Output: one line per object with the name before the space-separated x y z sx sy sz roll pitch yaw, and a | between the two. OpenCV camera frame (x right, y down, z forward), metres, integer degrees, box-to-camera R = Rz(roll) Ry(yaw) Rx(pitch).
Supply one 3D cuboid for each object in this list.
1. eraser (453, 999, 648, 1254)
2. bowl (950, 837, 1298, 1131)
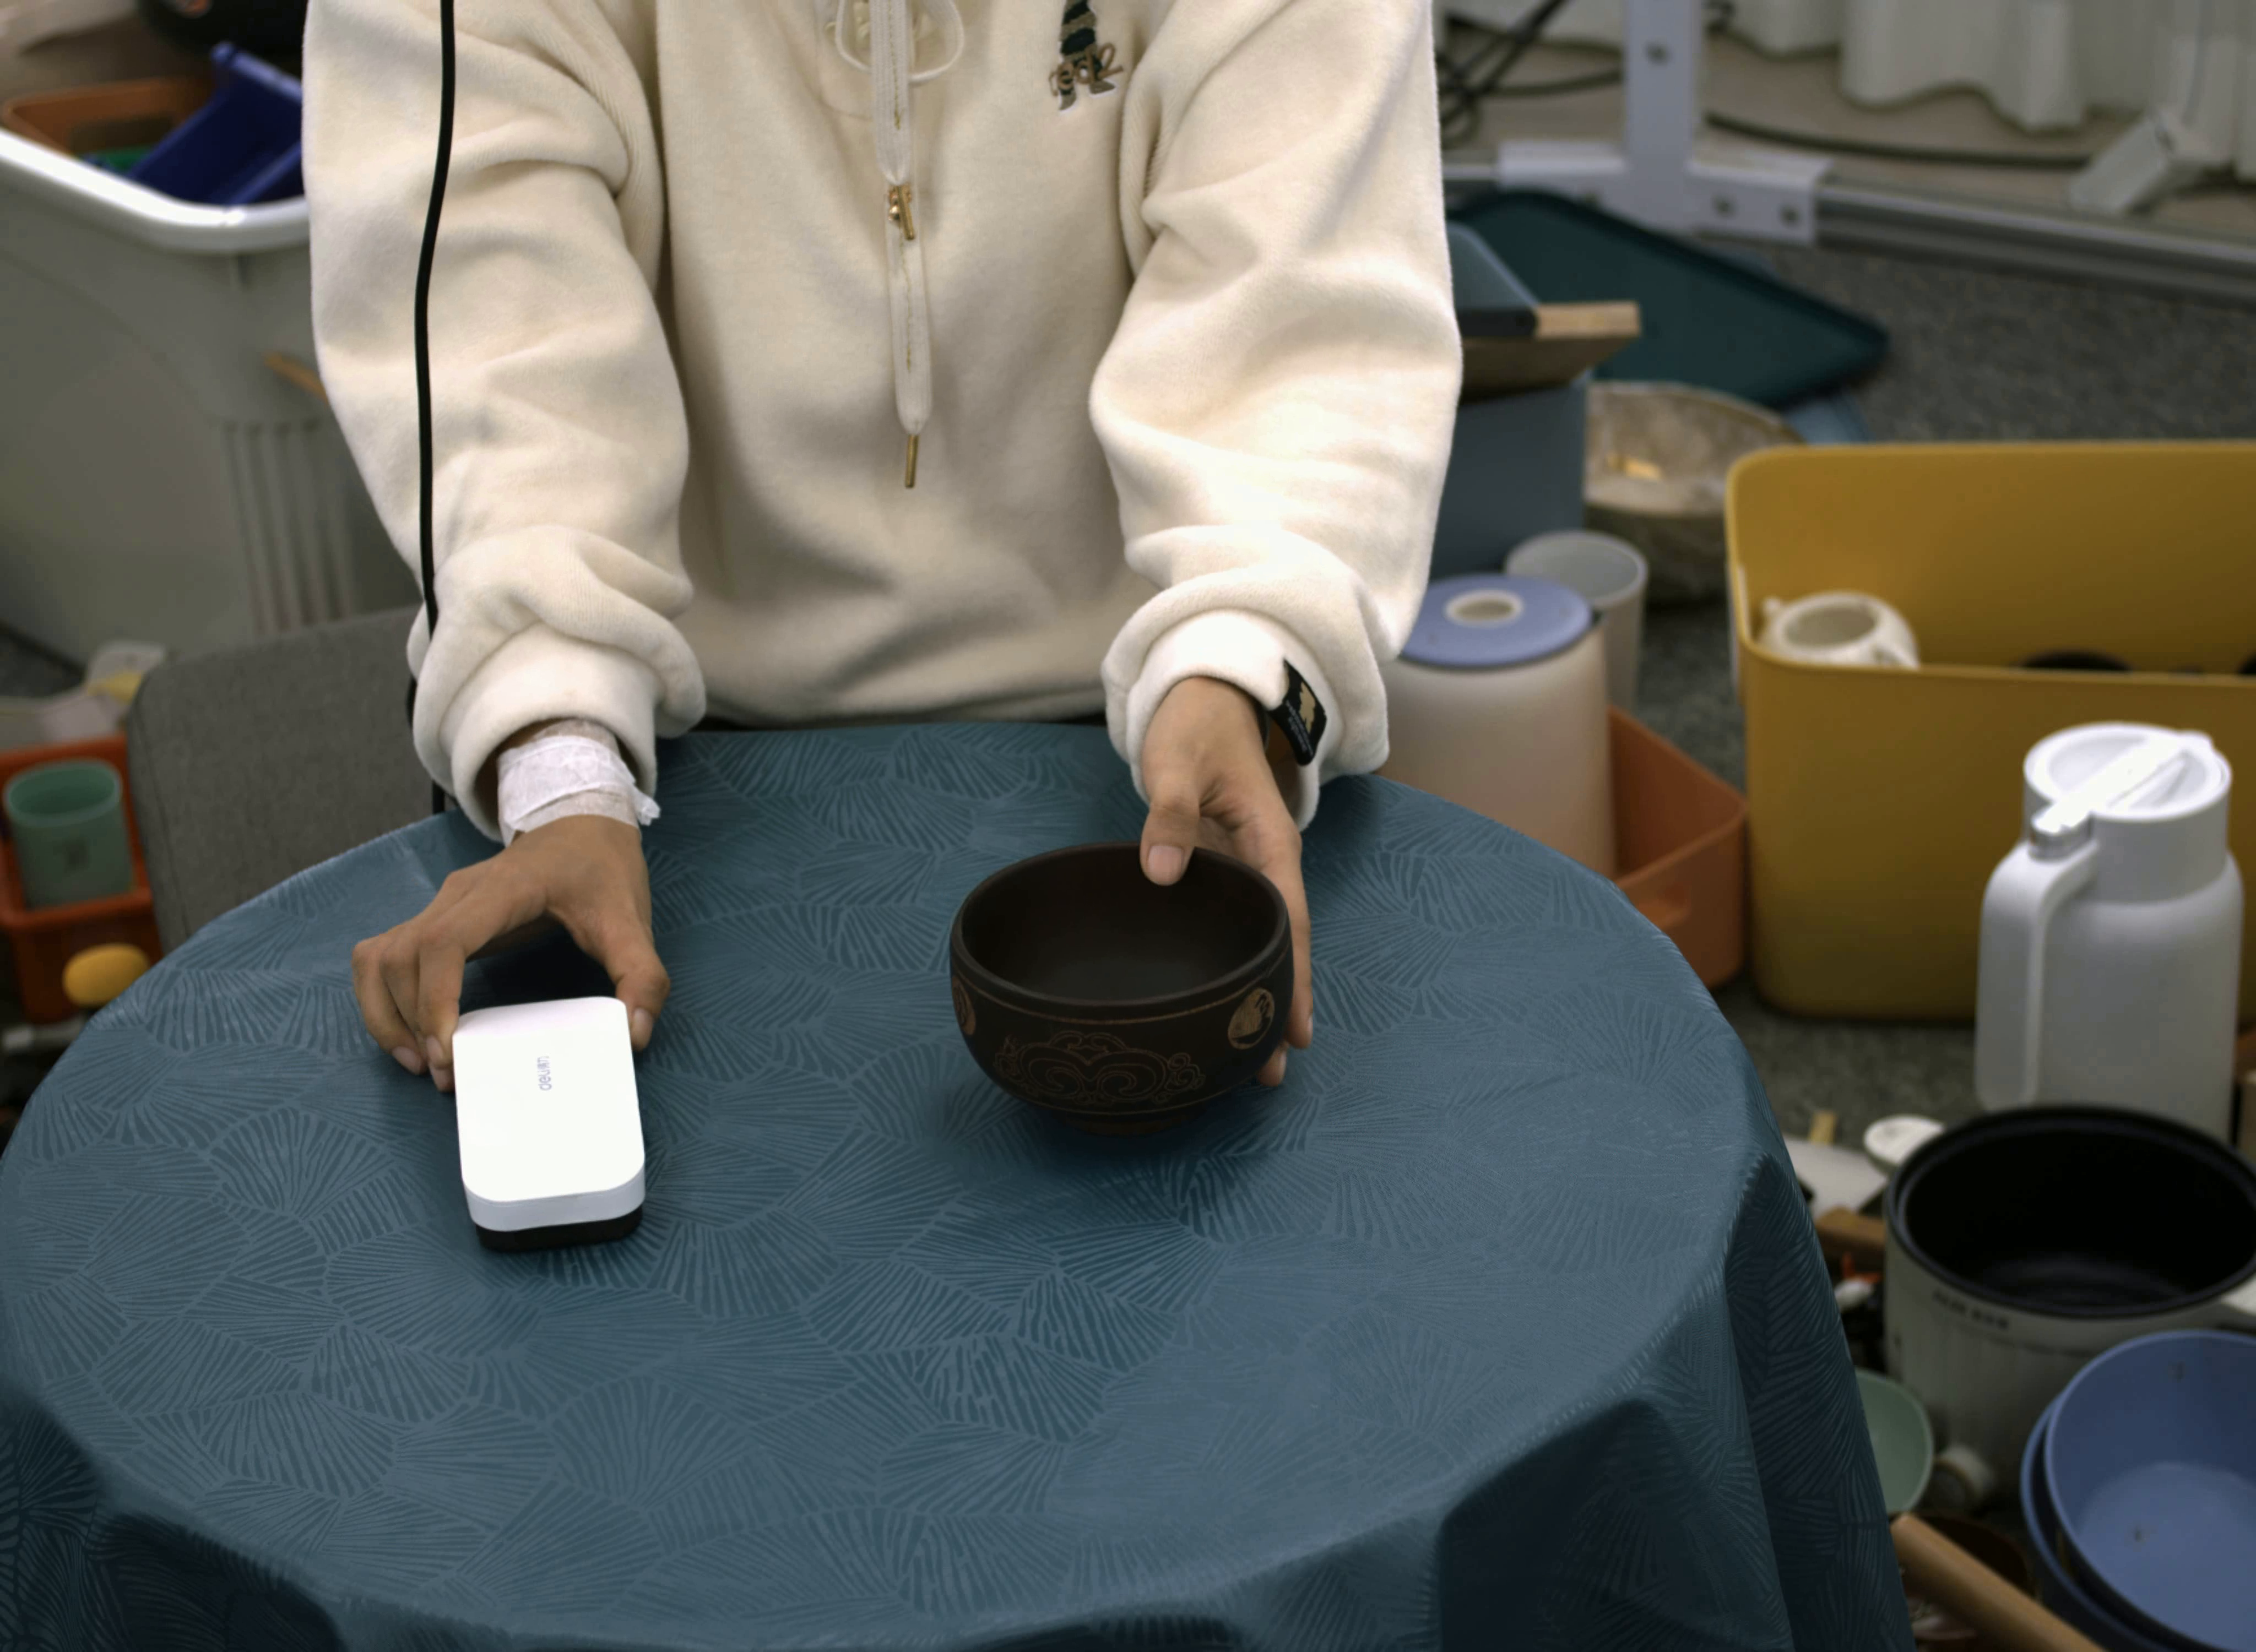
eraser | -0.194 0.098 1.894 0.063 0.034 0.133 -6 28 -6
bowl | -0.001 0.060 1.903 0.117 0.069 0.120 -1 26 1
